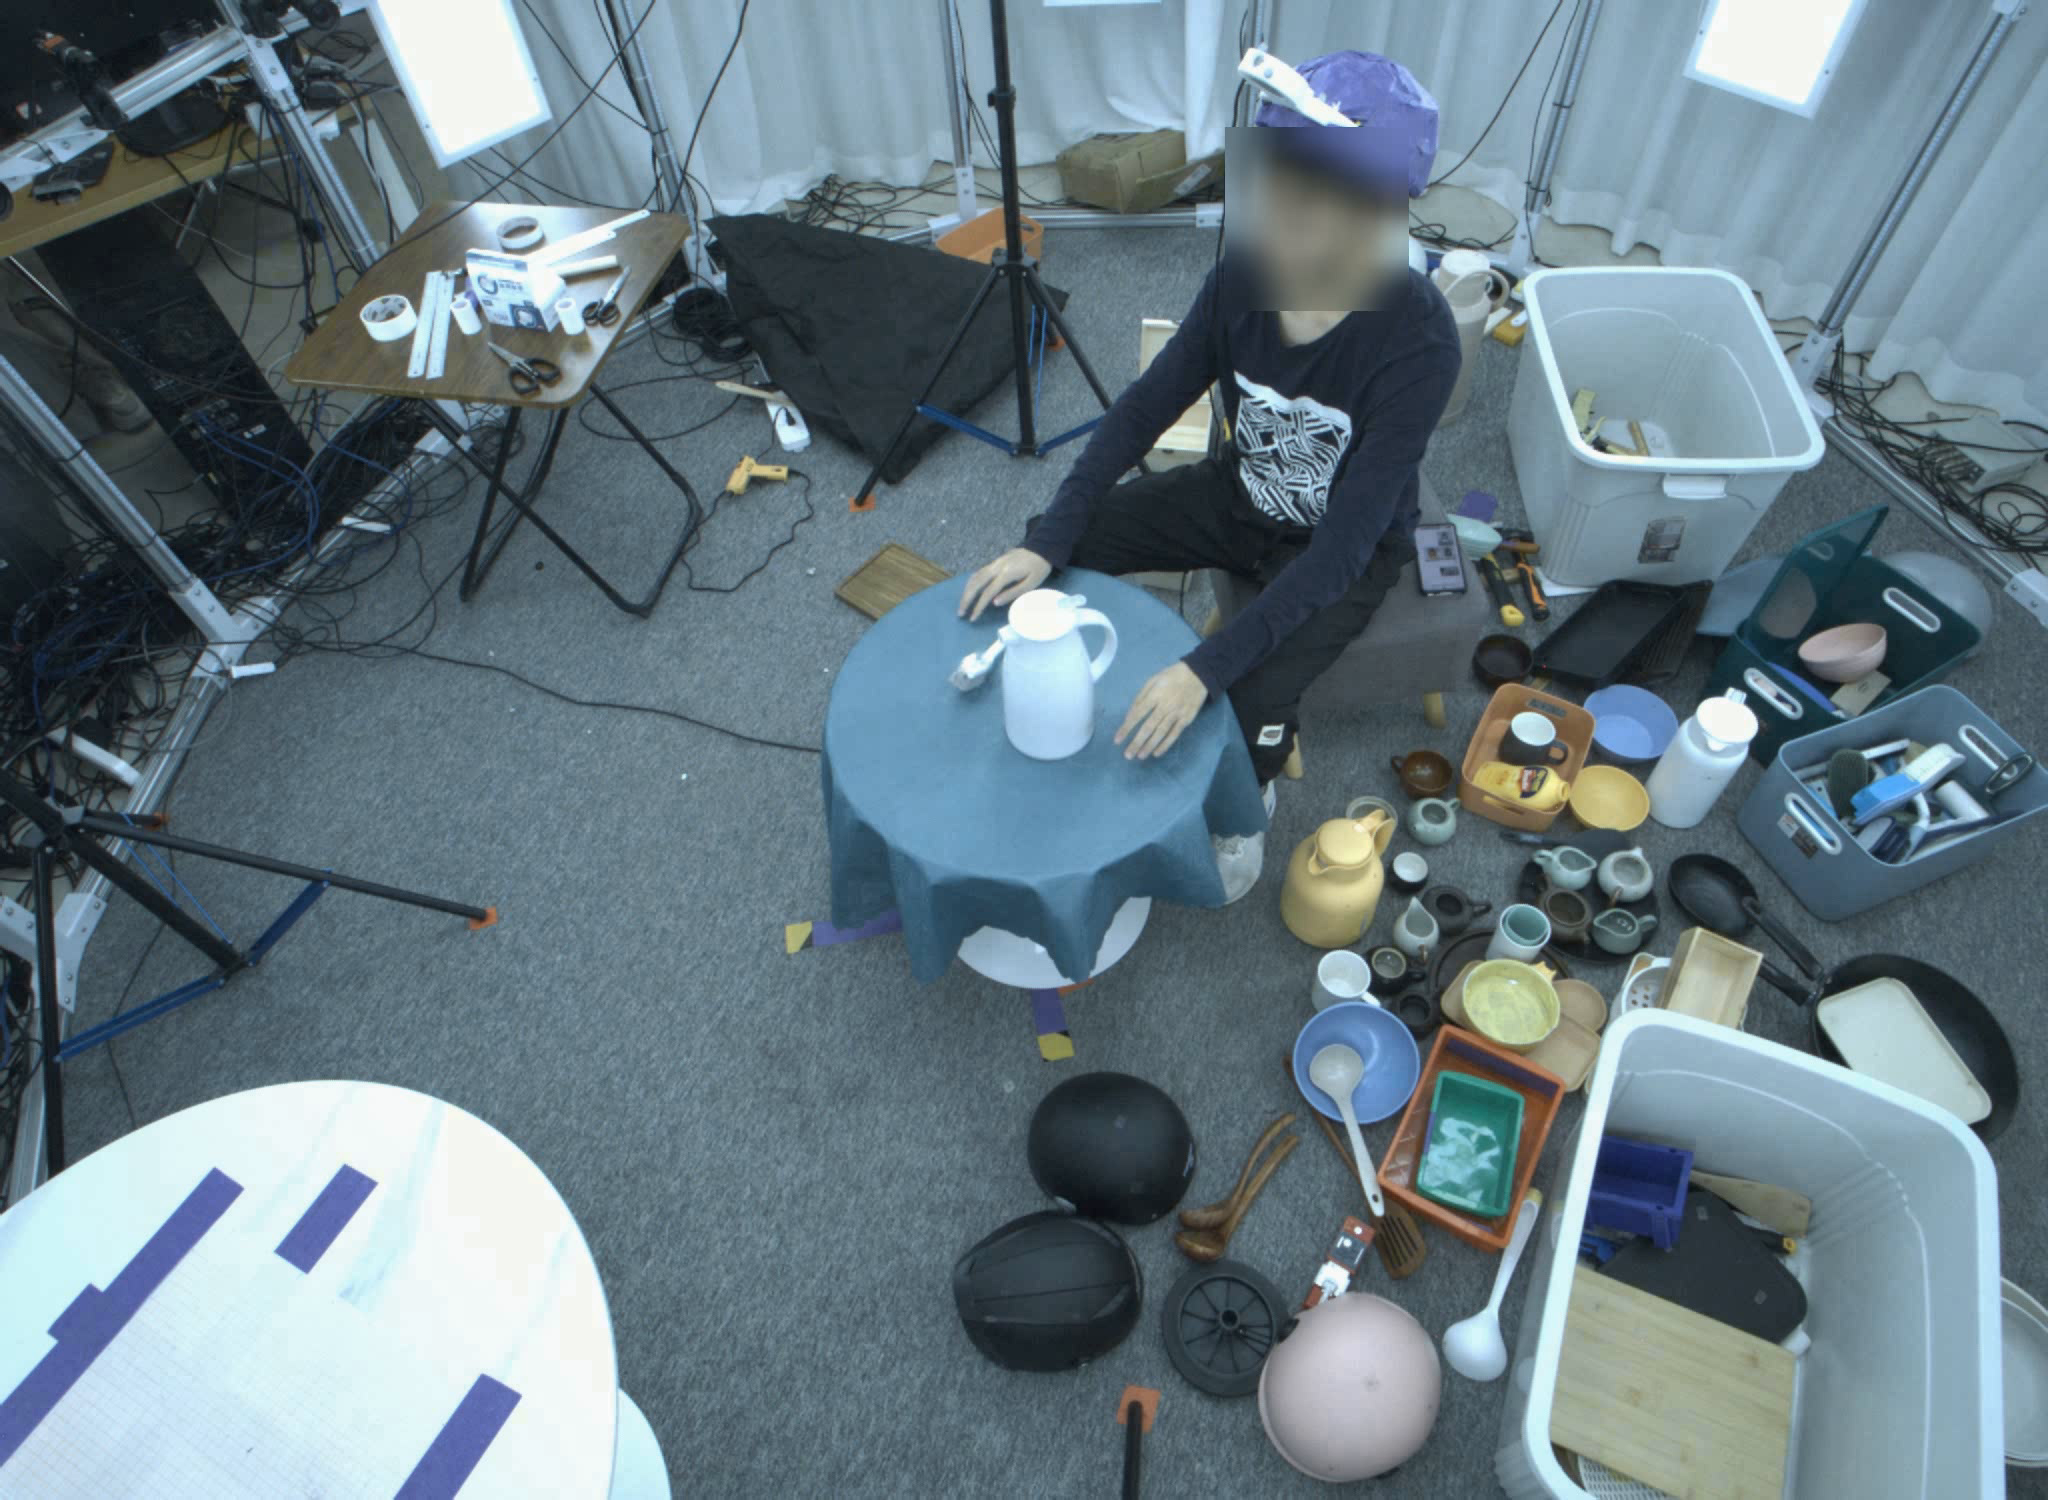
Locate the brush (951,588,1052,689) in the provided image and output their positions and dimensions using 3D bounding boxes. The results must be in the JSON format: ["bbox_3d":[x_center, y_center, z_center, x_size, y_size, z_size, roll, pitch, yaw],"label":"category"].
[{"bbox_3d":[-0.030,-0.170,1.882,0.034,0.050,0.245,31,50,15],"label":"brush"}]

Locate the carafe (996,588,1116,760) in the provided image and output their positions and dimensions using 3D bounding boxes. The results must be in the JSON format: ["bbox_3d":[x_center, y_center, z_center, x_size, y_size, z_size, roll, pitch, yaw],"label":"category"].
[{"bbox_3d":[0.047,-0.118,1.709,0.169,0.251,0.130,-21,55,-11],"label":"carafe"}]
